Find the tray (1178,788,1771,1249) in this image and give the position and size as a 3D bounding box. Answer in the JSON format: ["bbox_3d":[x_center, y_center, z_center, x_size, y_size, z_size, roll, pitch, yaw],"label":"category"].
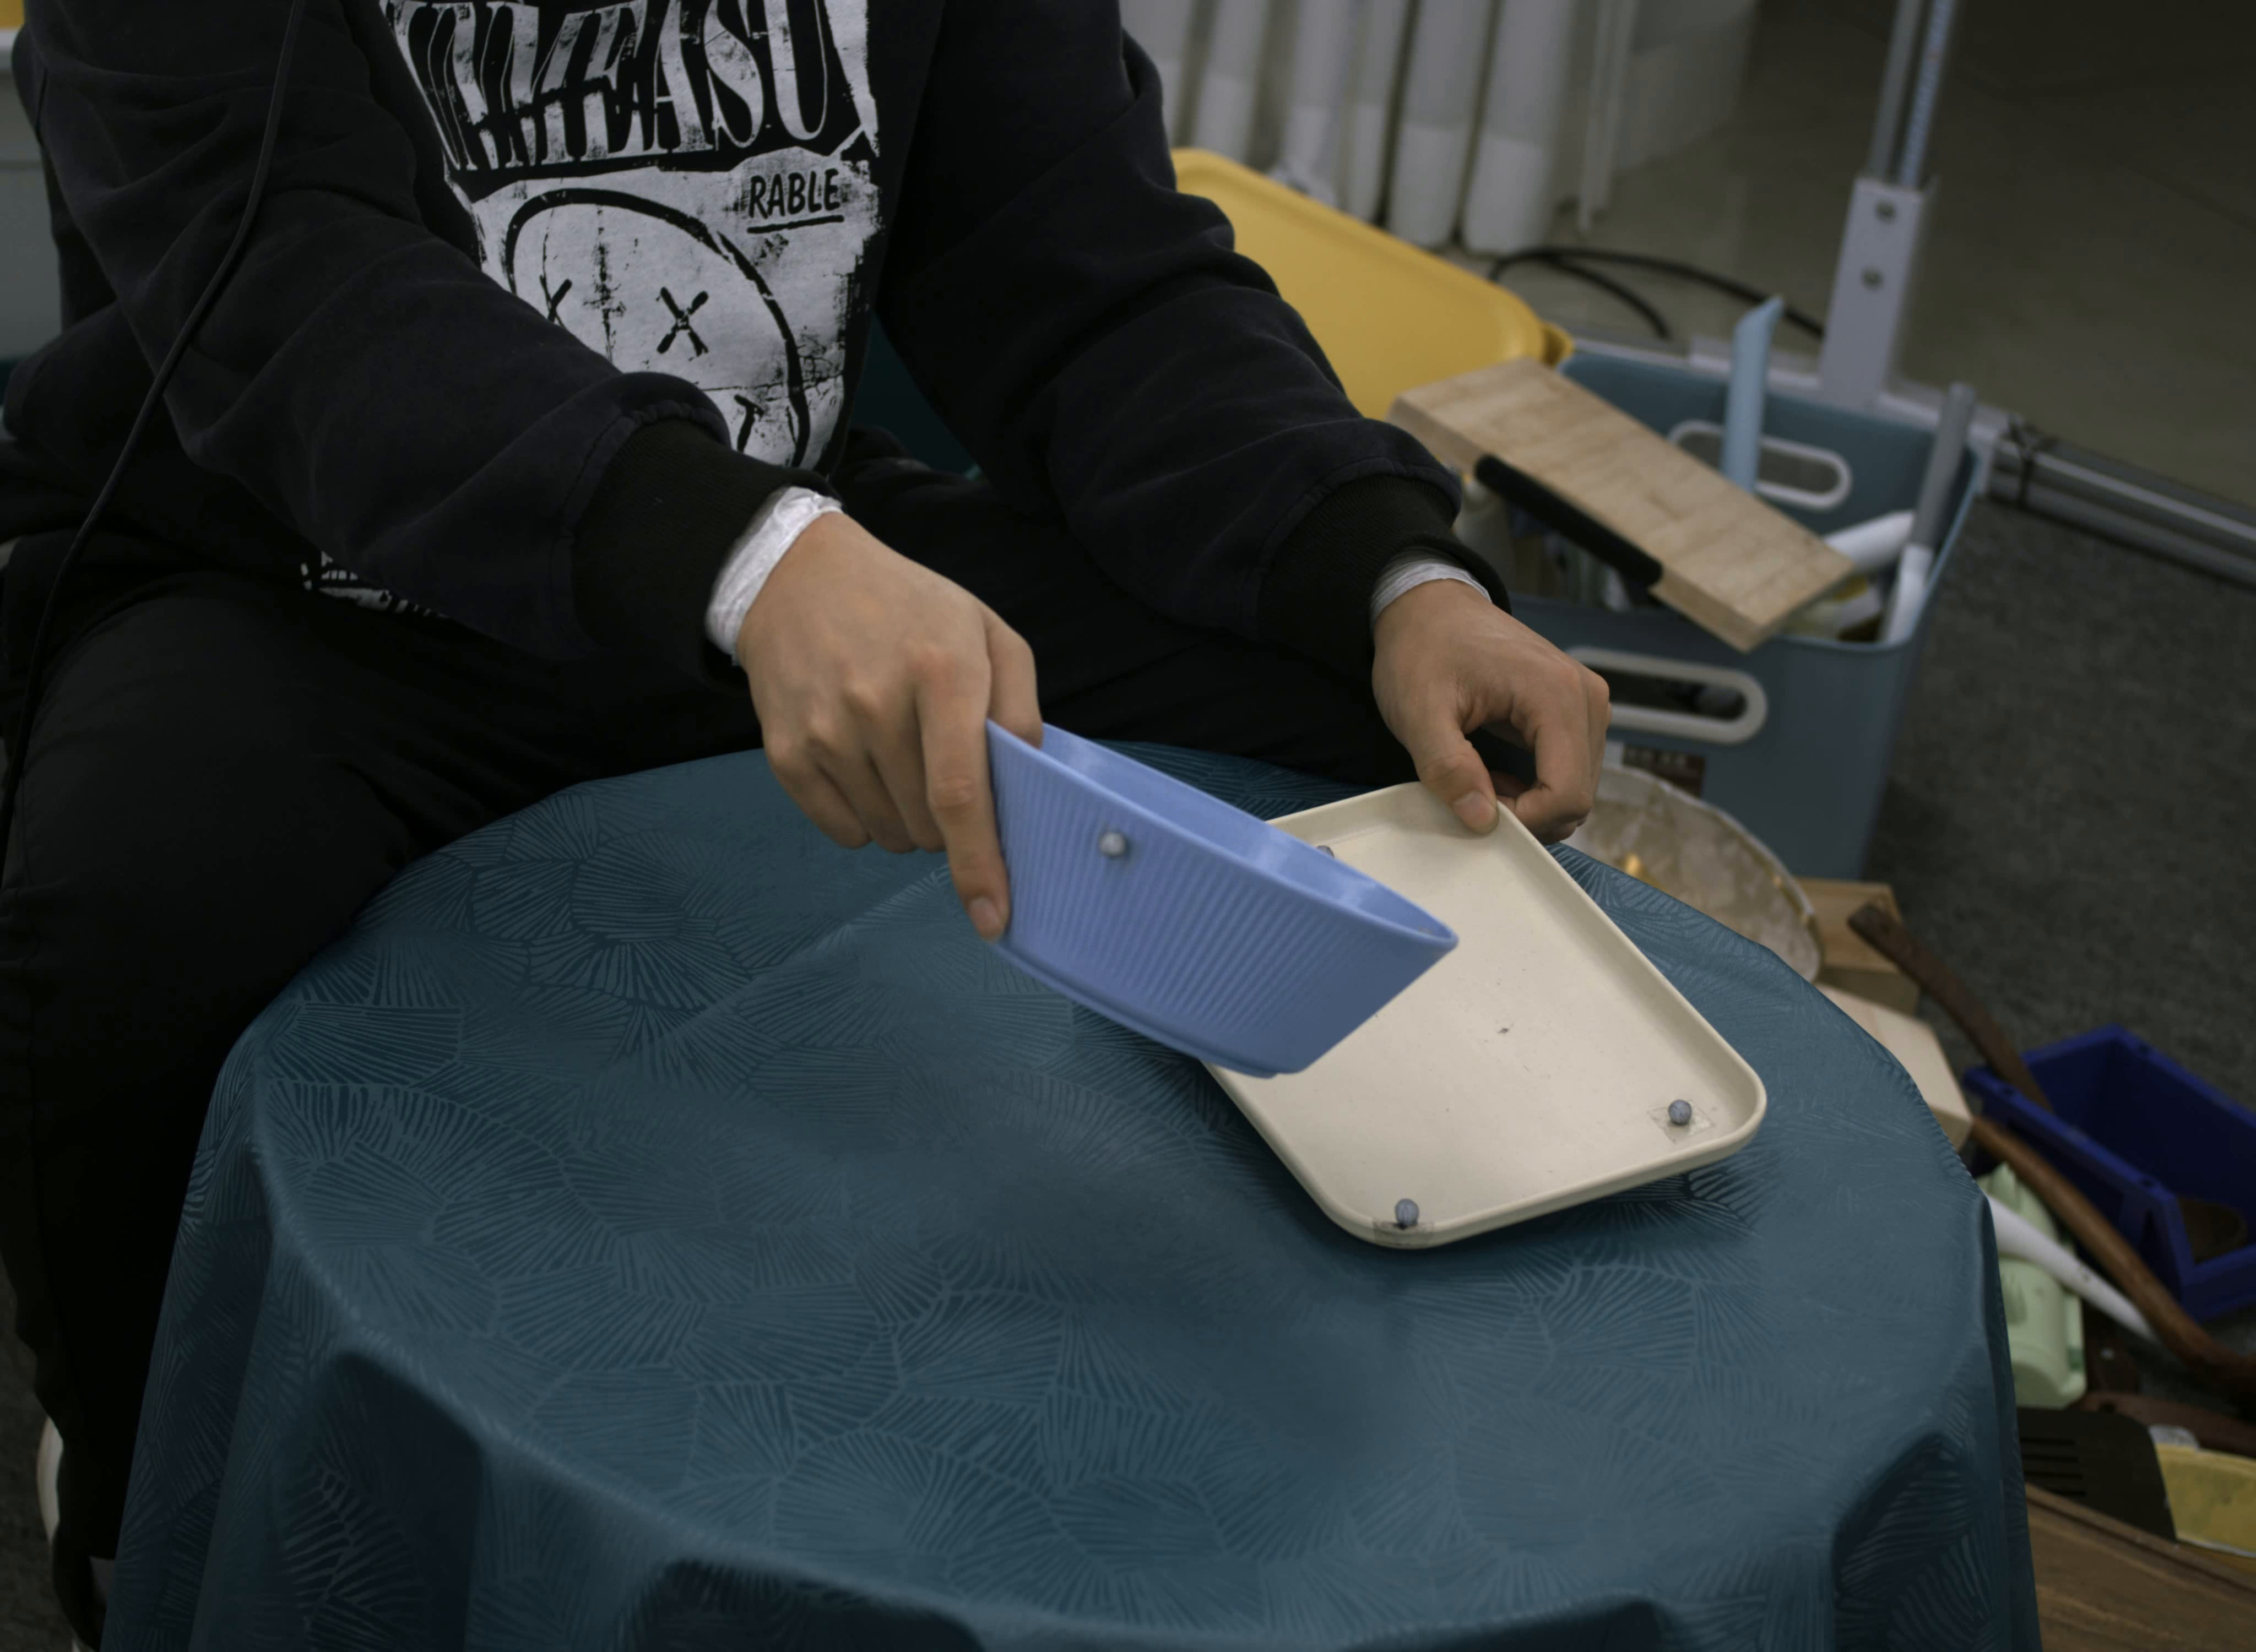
[{"bbox_3d":[0.104,0.066,1.883,0.170,0.017,0.242,-14,36,-21],"label":"tray"}]

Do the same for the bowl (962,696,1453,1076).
[{"bbox_3d":[0.013,0.026,1.724,0.175,0.070,0.176,27,4,-2],"label":"bowl"}]
